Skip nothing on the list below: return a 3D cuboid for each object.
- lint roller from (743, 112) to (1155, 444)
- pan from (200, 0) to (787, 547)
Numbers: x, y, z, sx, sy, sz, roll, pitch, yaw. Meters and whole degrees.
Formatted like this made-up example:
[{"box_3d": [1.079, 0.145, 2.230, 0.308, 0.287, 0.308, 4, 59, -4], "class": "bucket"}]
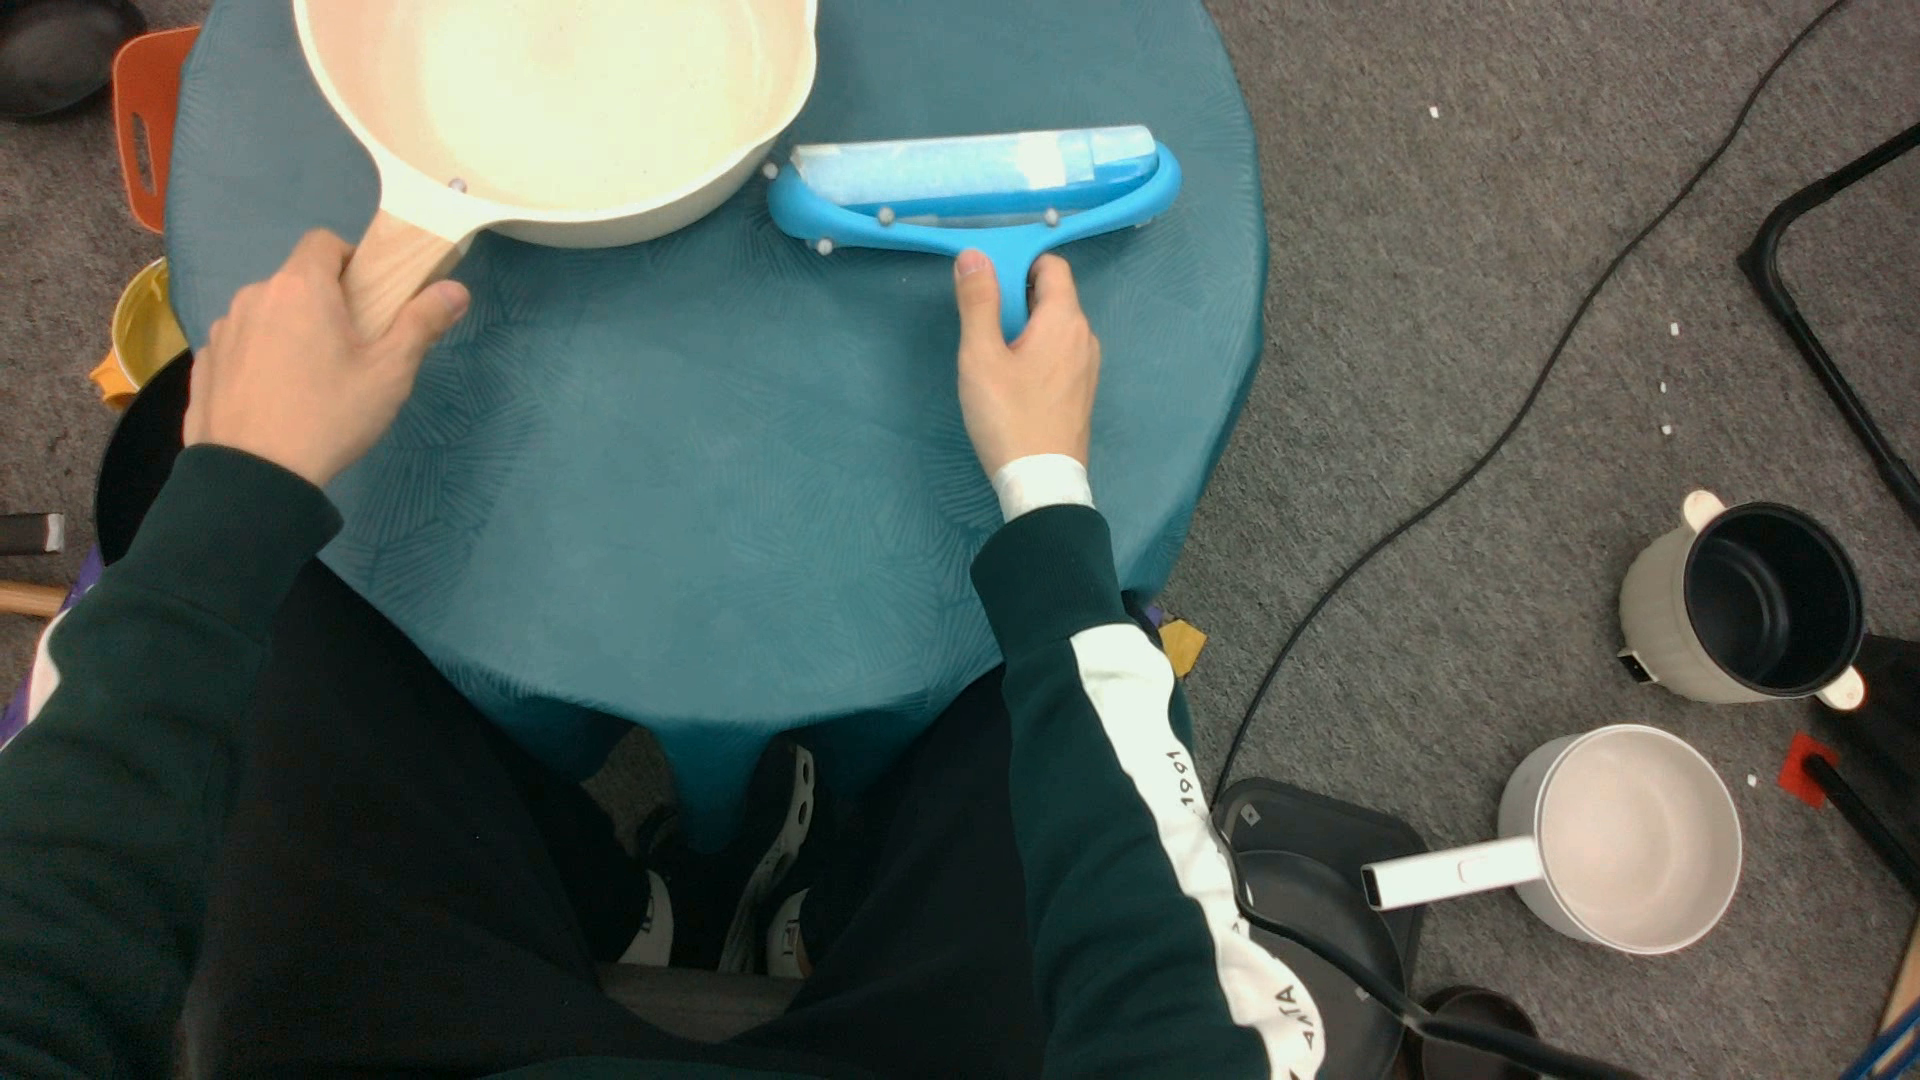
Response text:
[{"box_3d": [0.009, -0.146, 0.740, 0.229, 0.067, 0.180, -10, 73, -13], "class": "lint roller"}, {"box_3d": [-0.251, -0.191, 0.692, 0.263, 0.102, 0.436, 24, 78, -5], "class": "pan"}]
